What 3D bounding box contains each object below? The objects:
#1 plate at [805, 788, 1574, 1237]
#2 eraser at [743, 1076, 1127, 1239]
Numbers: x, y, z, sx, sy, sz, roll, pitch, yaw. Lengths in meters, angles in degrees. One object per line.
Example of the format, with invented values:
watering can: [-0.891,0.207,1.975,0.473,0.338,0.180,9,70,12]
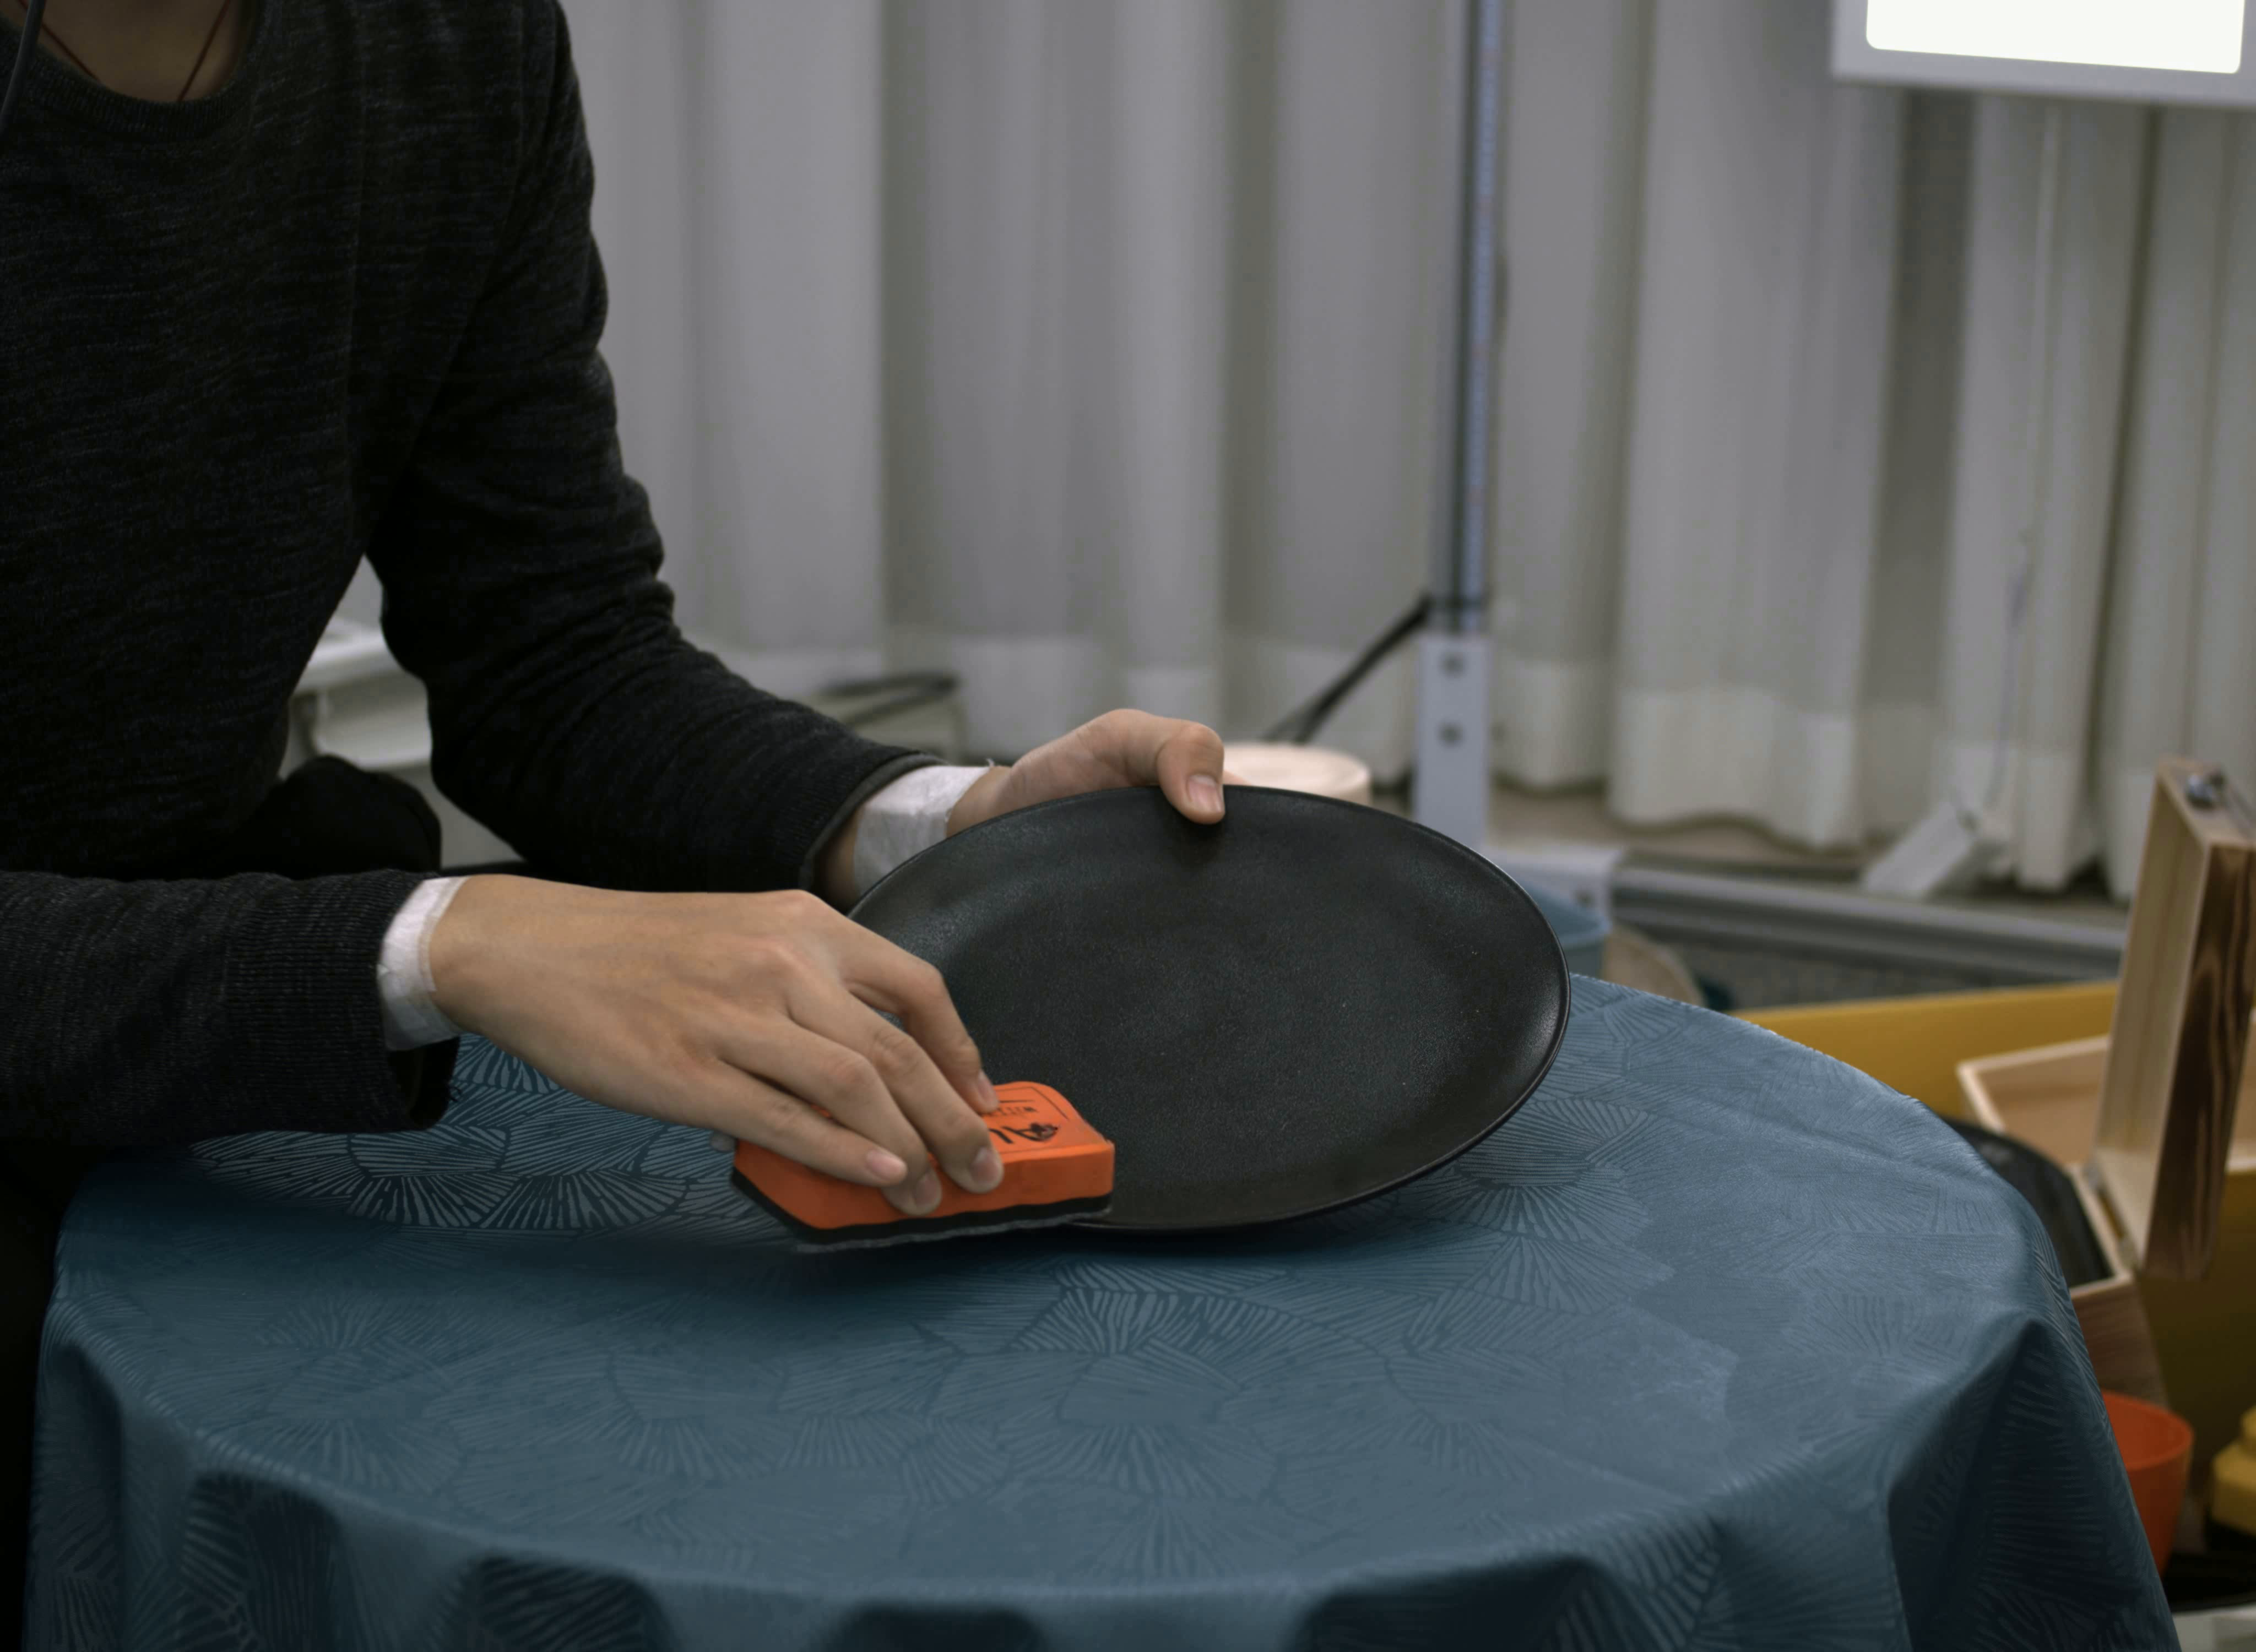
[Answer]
plate: [0.020,0.061,1.664,0.243,0.024,0.242,-2,33,2]
eraser: [-0.057,0.098,1.564,0.108,0.023,0.058,-7,16,-27]
